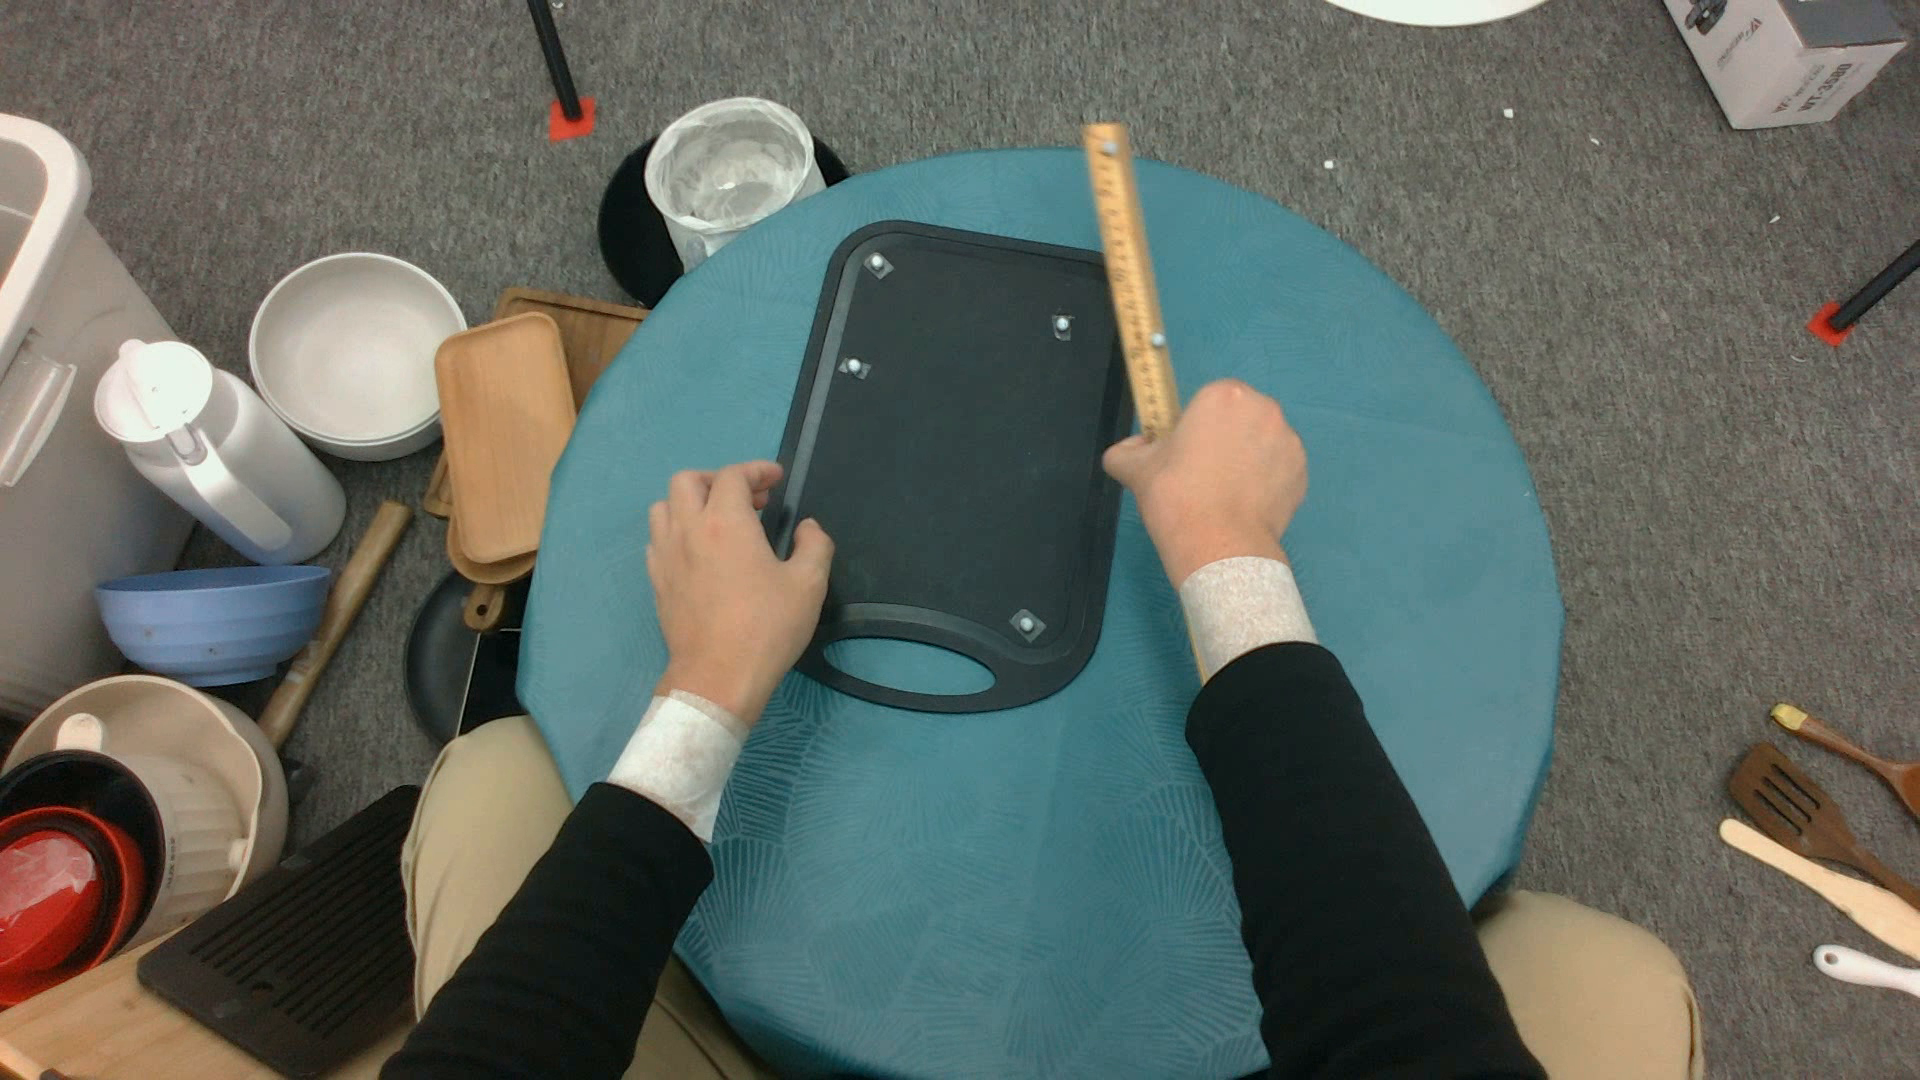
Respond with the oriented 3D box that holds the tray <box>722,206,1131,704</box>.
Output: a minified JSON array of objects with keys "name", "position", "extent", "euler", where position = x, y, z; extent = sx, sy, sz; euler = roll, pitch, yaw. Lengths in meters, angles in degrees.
[{"name":"tray","position":[-0.016,-0.059,0.831],"extent":[0.211,0.010,0.326],"euler":[10,67,3]}]

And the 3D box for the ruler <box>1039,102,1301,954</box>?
[{"name":"ruler","position":[0.112,-0.024,0.773],"extent":[0.027,0.006,0.501],"euler":[-10,77,-11]}]
